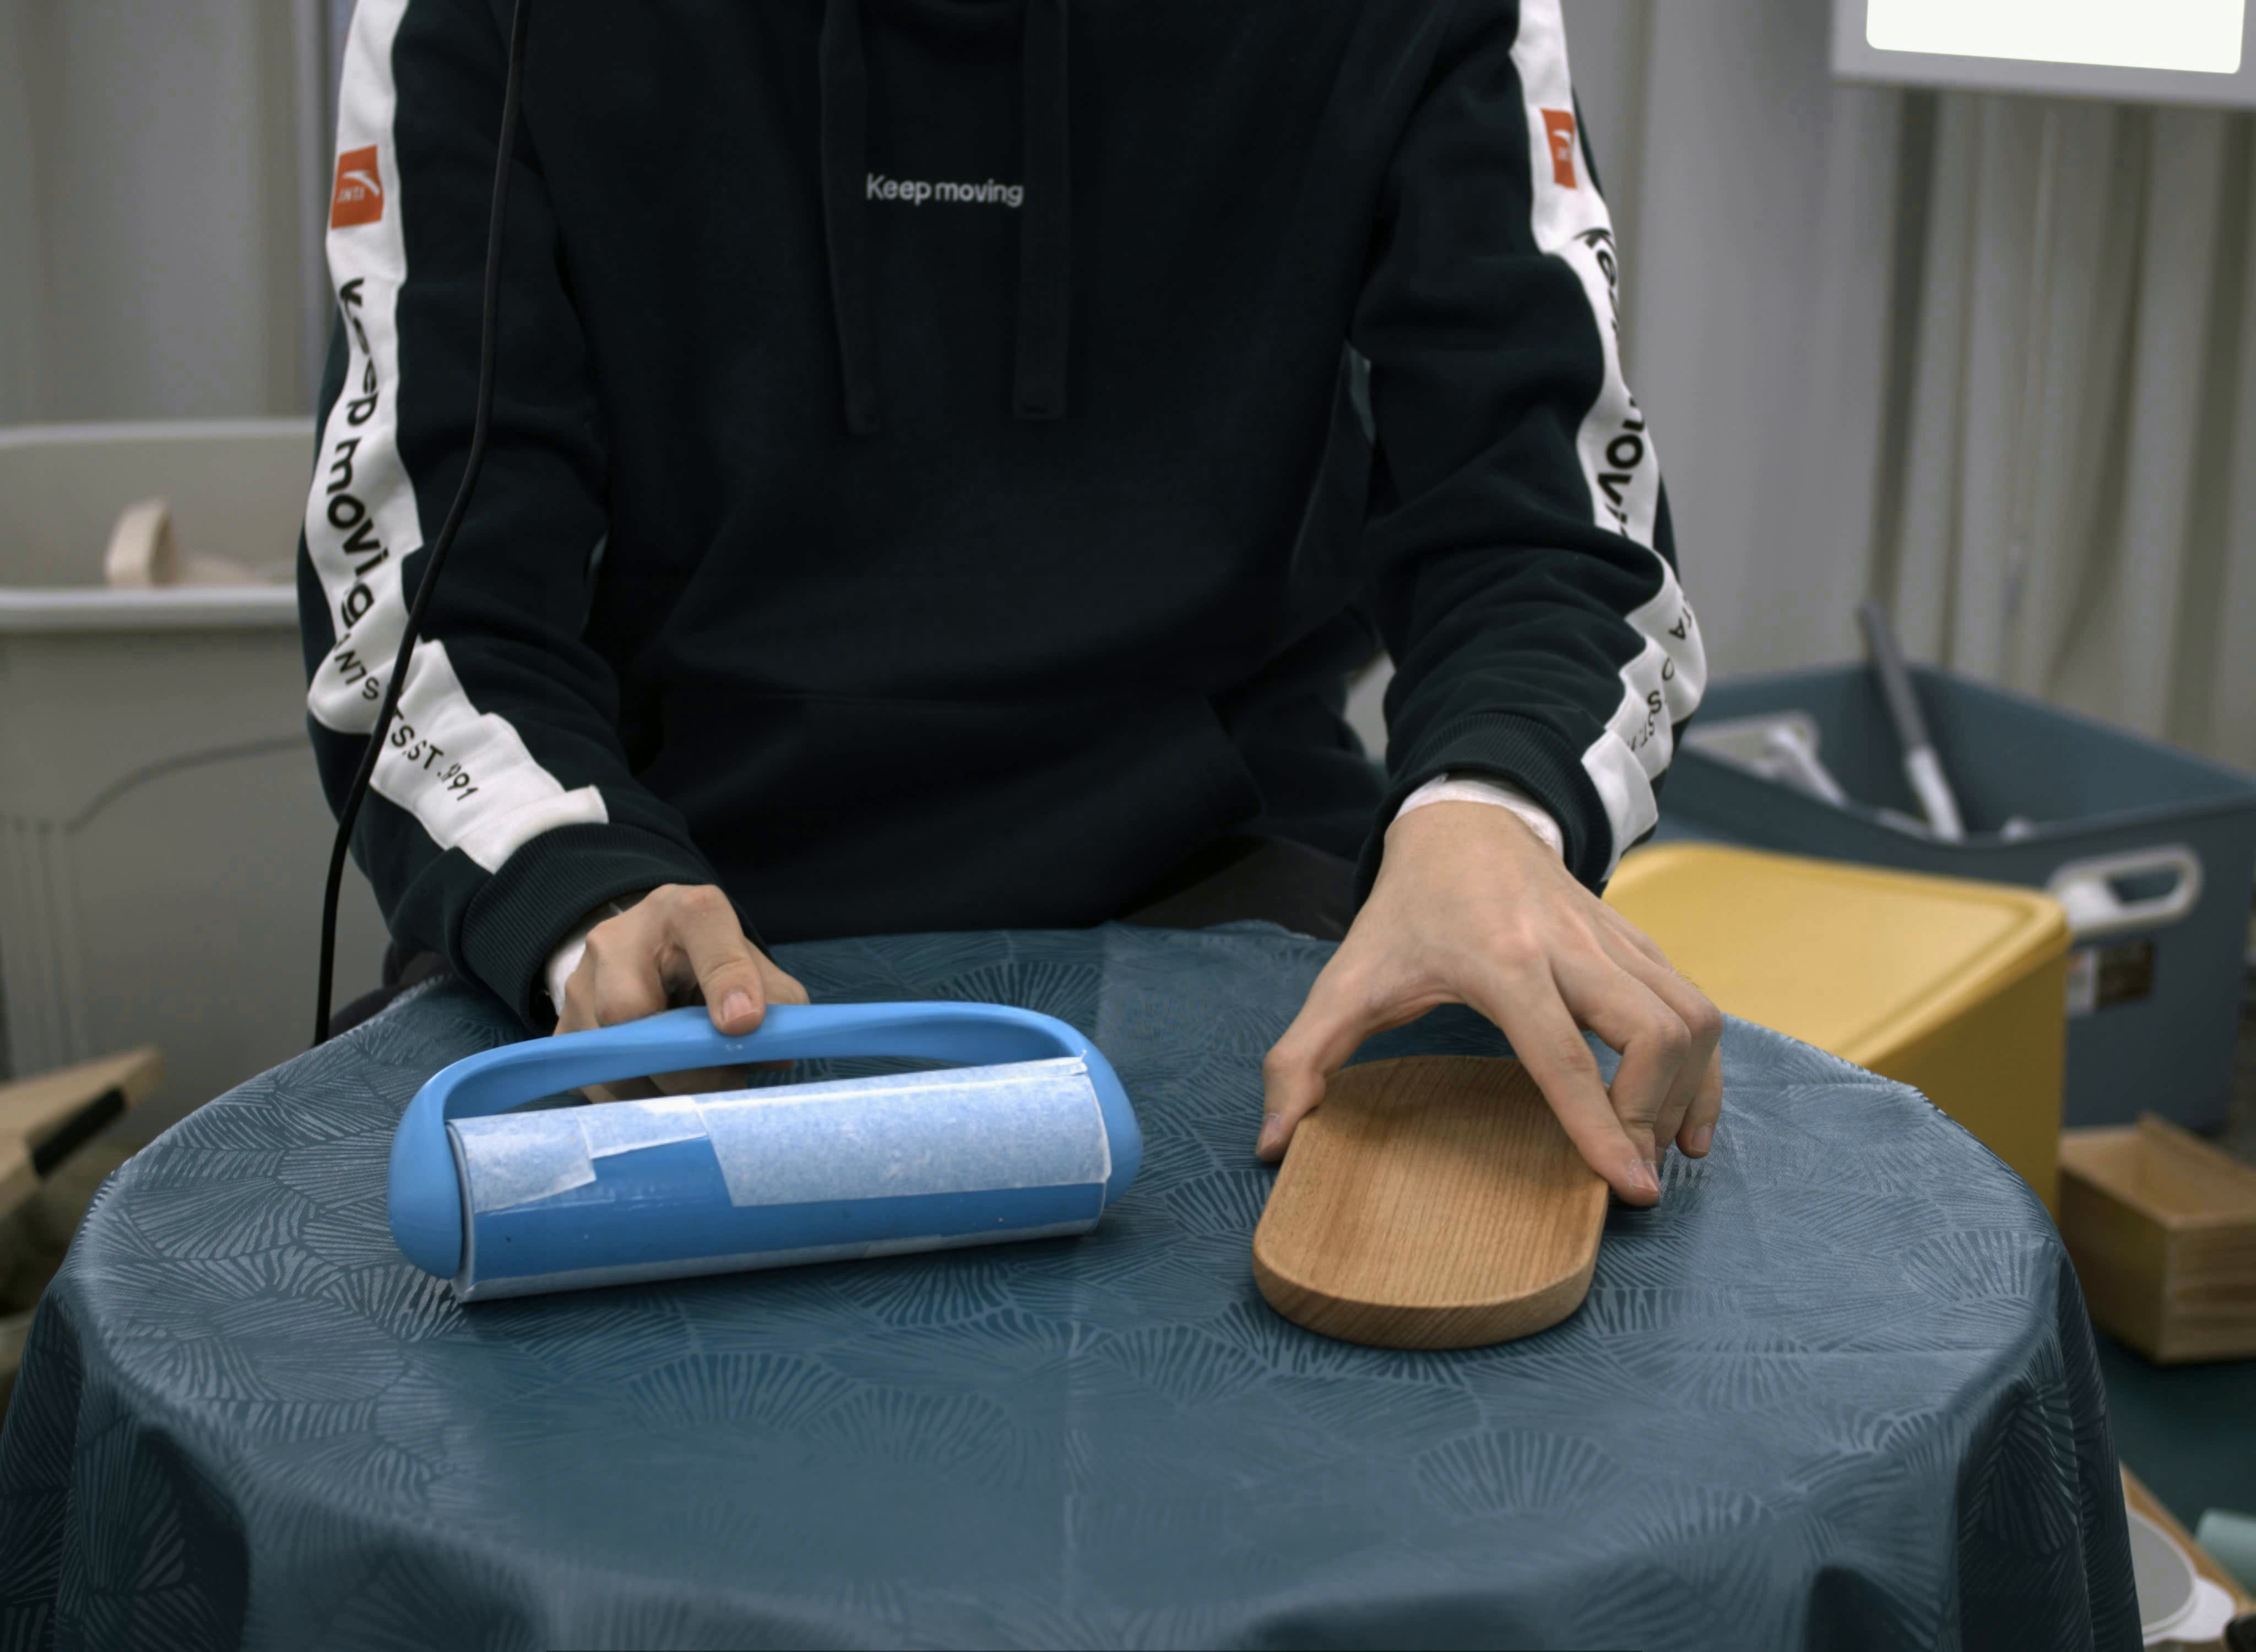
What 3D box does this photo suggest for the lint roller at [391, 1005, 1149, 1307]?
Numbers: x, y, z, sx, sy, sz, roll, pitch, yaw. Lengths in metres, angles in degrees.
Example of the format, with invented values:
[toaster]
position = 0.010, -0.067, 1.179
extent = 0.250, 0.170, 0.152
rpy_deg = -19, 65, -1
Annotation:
[lint roller]
position = -0.124, 0.087, 1.600
extent = 0.229, 0.068, 0.178
rpy_deg = -7, 18, -21

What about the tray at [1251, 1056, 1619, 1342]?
[tray]
position = 0.095, 0.111, 1.599
extent = 0.101, 0.020, 0.230
rpy_deg = 4, 14, 7
